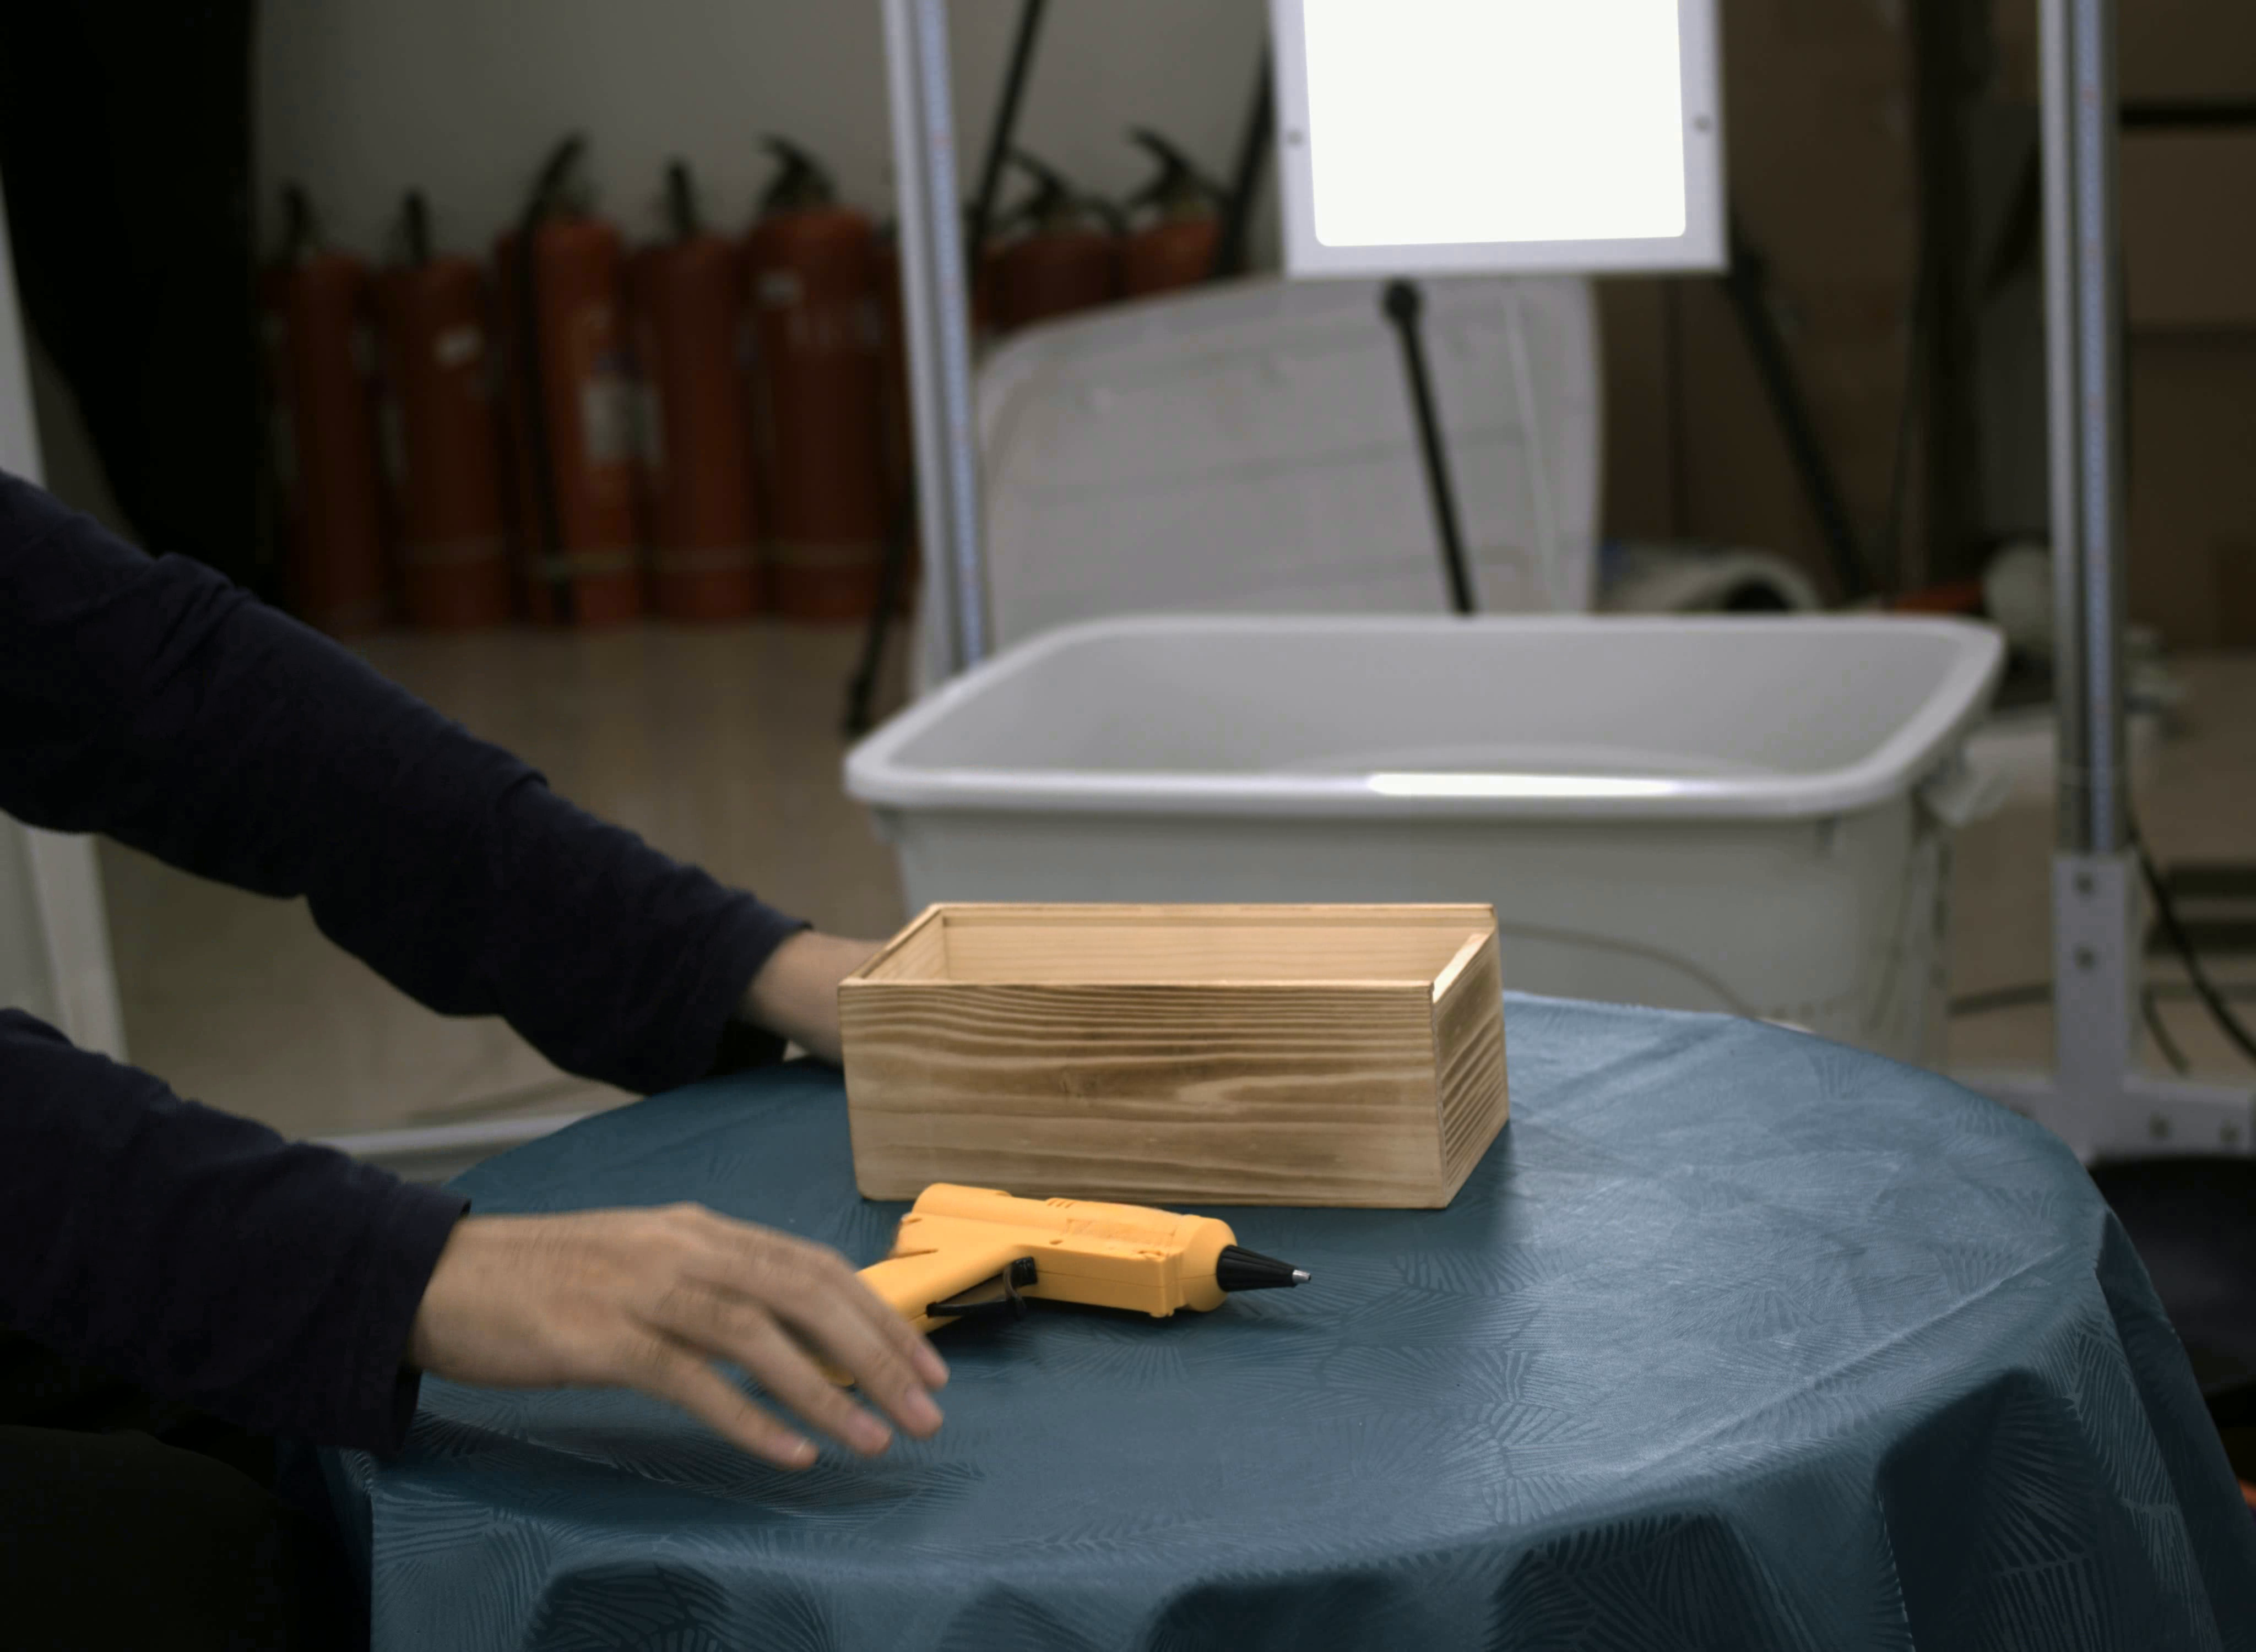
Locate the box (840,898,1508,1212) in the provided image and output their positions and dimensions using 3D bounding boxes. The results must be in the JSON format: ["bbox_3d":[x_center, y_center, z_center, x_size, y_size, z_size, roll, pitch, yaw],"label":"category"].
[{"bbox_3d":[0.018,0.078,1.922,0.214,0.080,0.106,0,15,19],"label":"box"}]

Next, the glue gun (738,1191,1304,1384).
[{"bbox_3d":[-0.028,0.151,1.754,0.154,0.031,0.130,2,16,30],"label":"glue gun"}]
